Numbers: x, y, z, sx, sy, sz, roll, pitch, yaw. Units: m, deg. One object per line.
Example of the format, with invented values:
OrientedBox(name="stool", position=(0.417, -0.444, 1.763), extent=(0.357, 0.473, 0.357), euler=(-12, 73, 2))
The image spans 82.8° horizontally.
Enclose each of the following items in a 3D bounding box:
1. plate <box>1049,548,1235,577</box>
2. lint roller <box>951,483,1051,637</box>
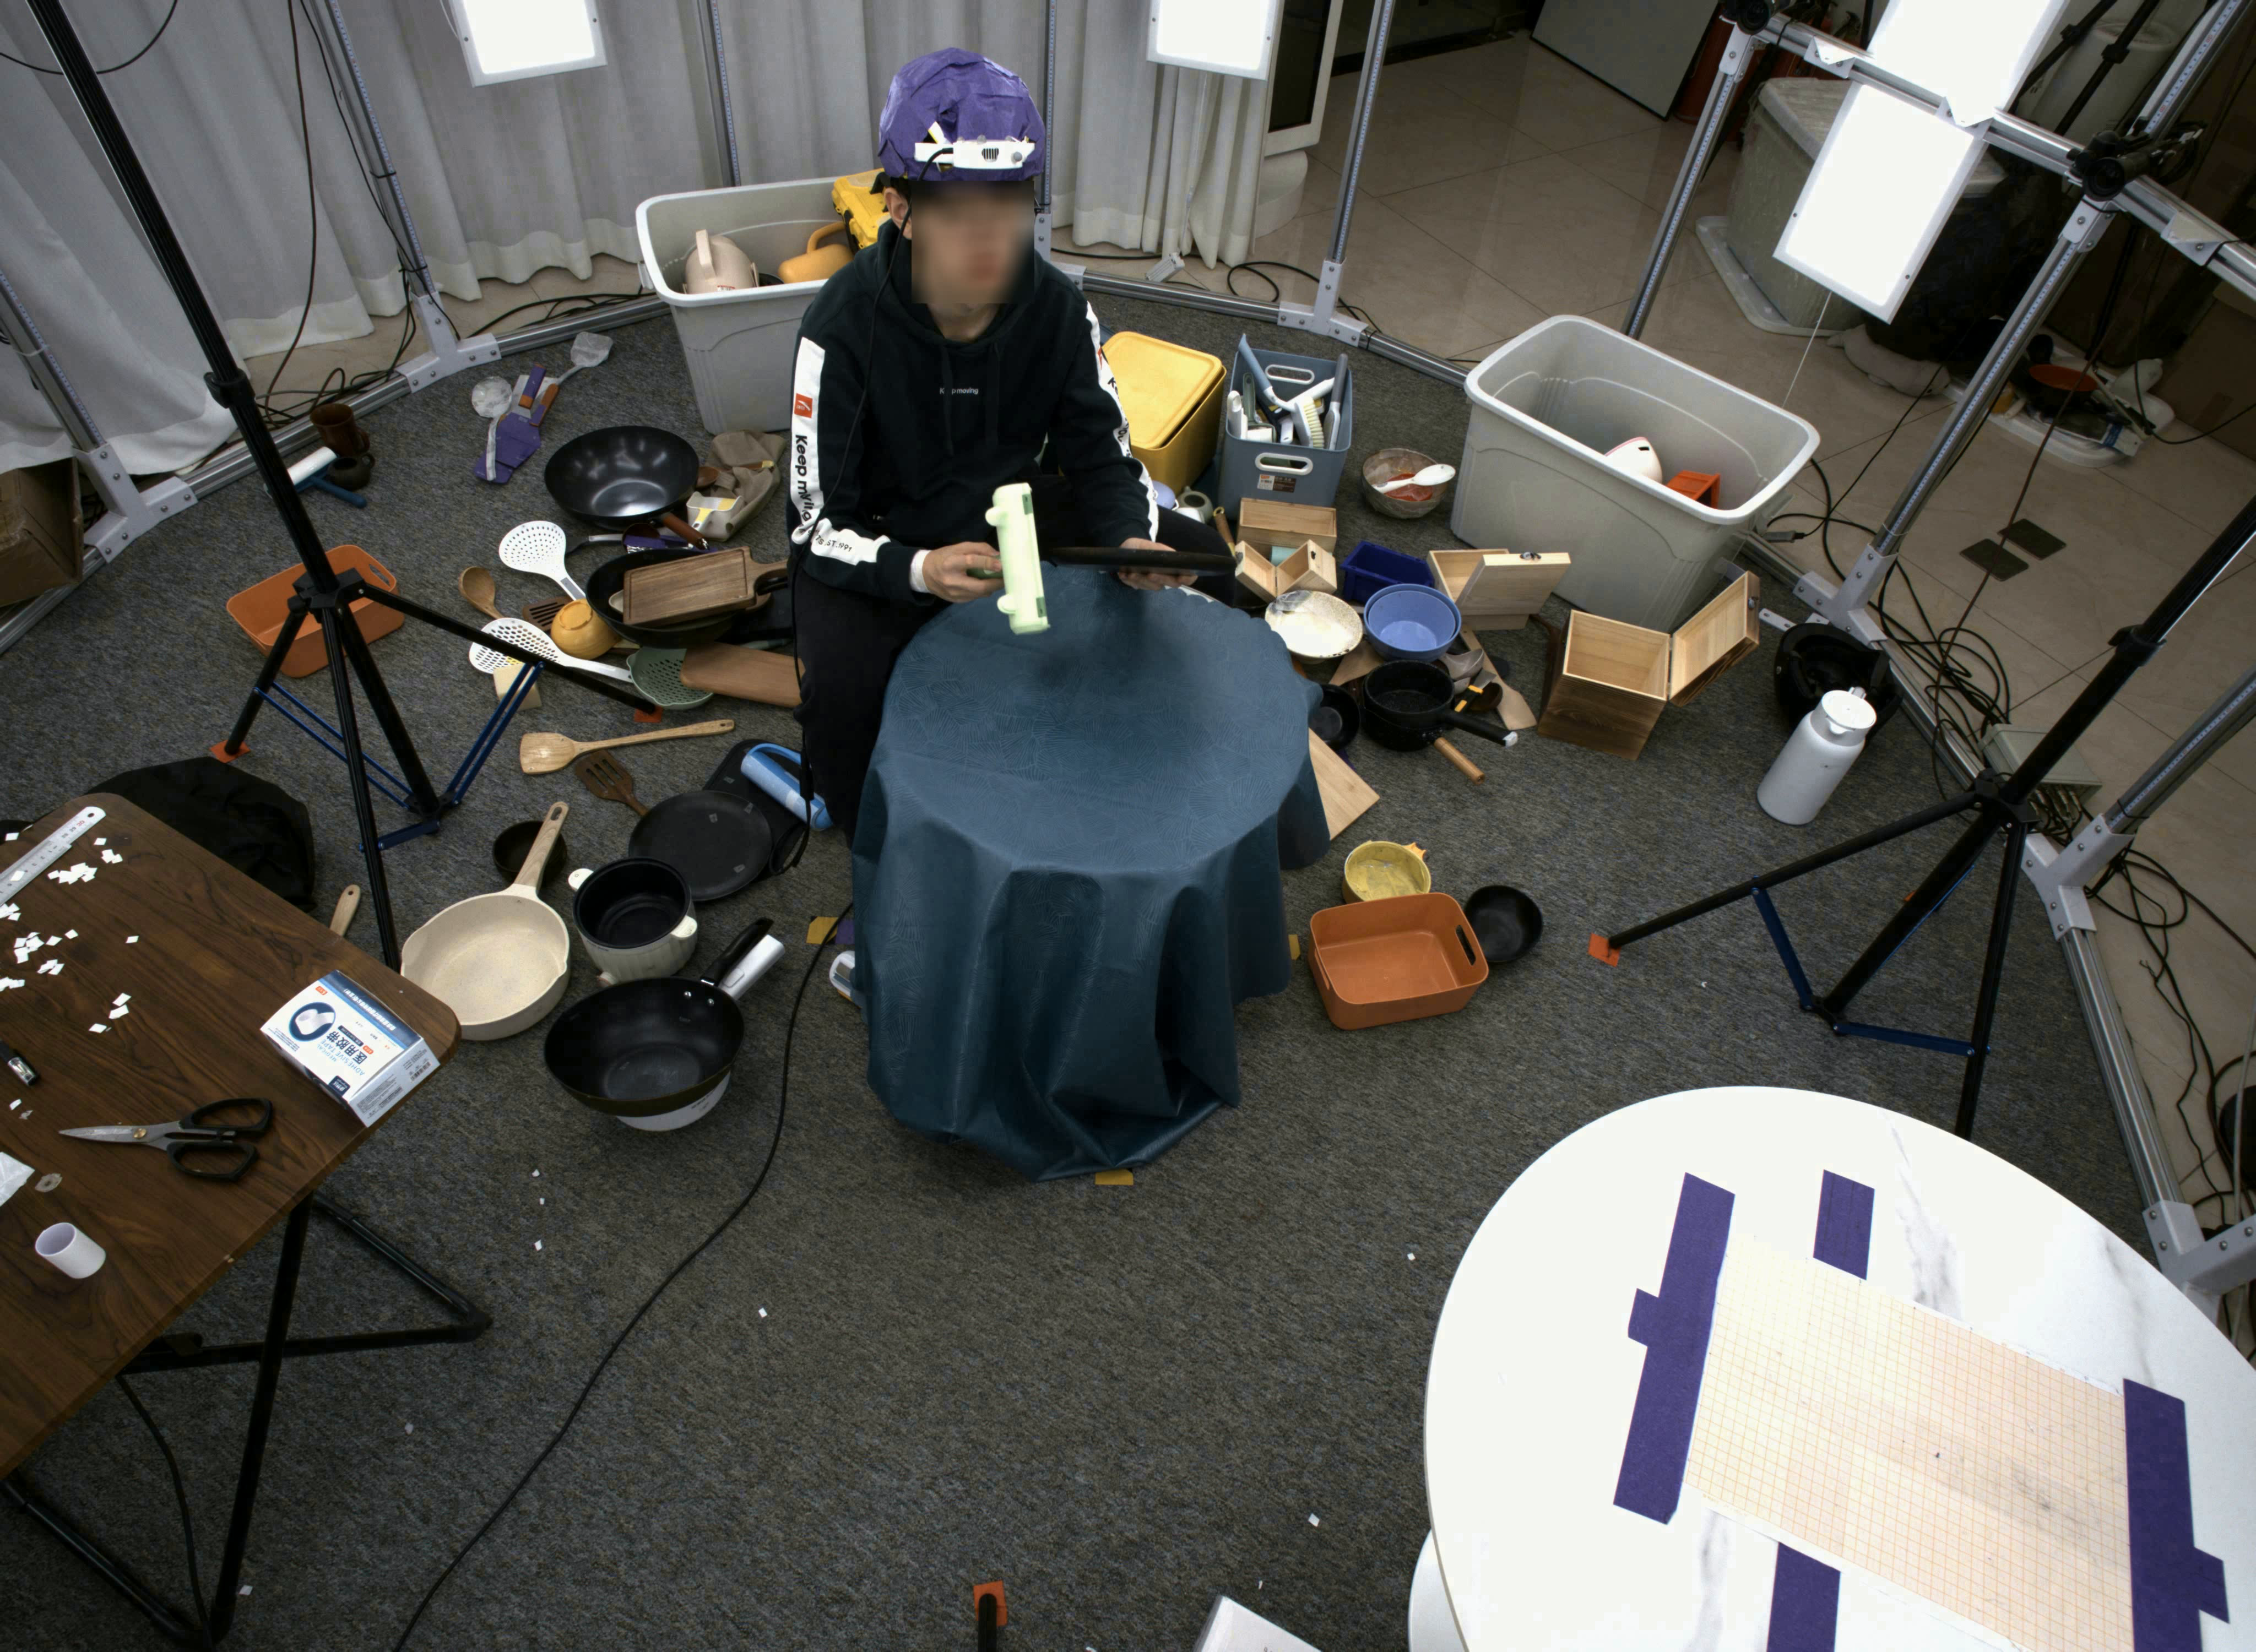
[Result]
OrientedBox(name="plate", position=(0.018, -0.360, 1.757), extent=(0.254, 0.029, 0.256), euler=(2, 10, -1))
OrientedBox(name="lint roller", position=(-0.190, -0.349, 1.745), extent=(0.183, 0.198, 0.082), euler=(-5, 4, 36))
